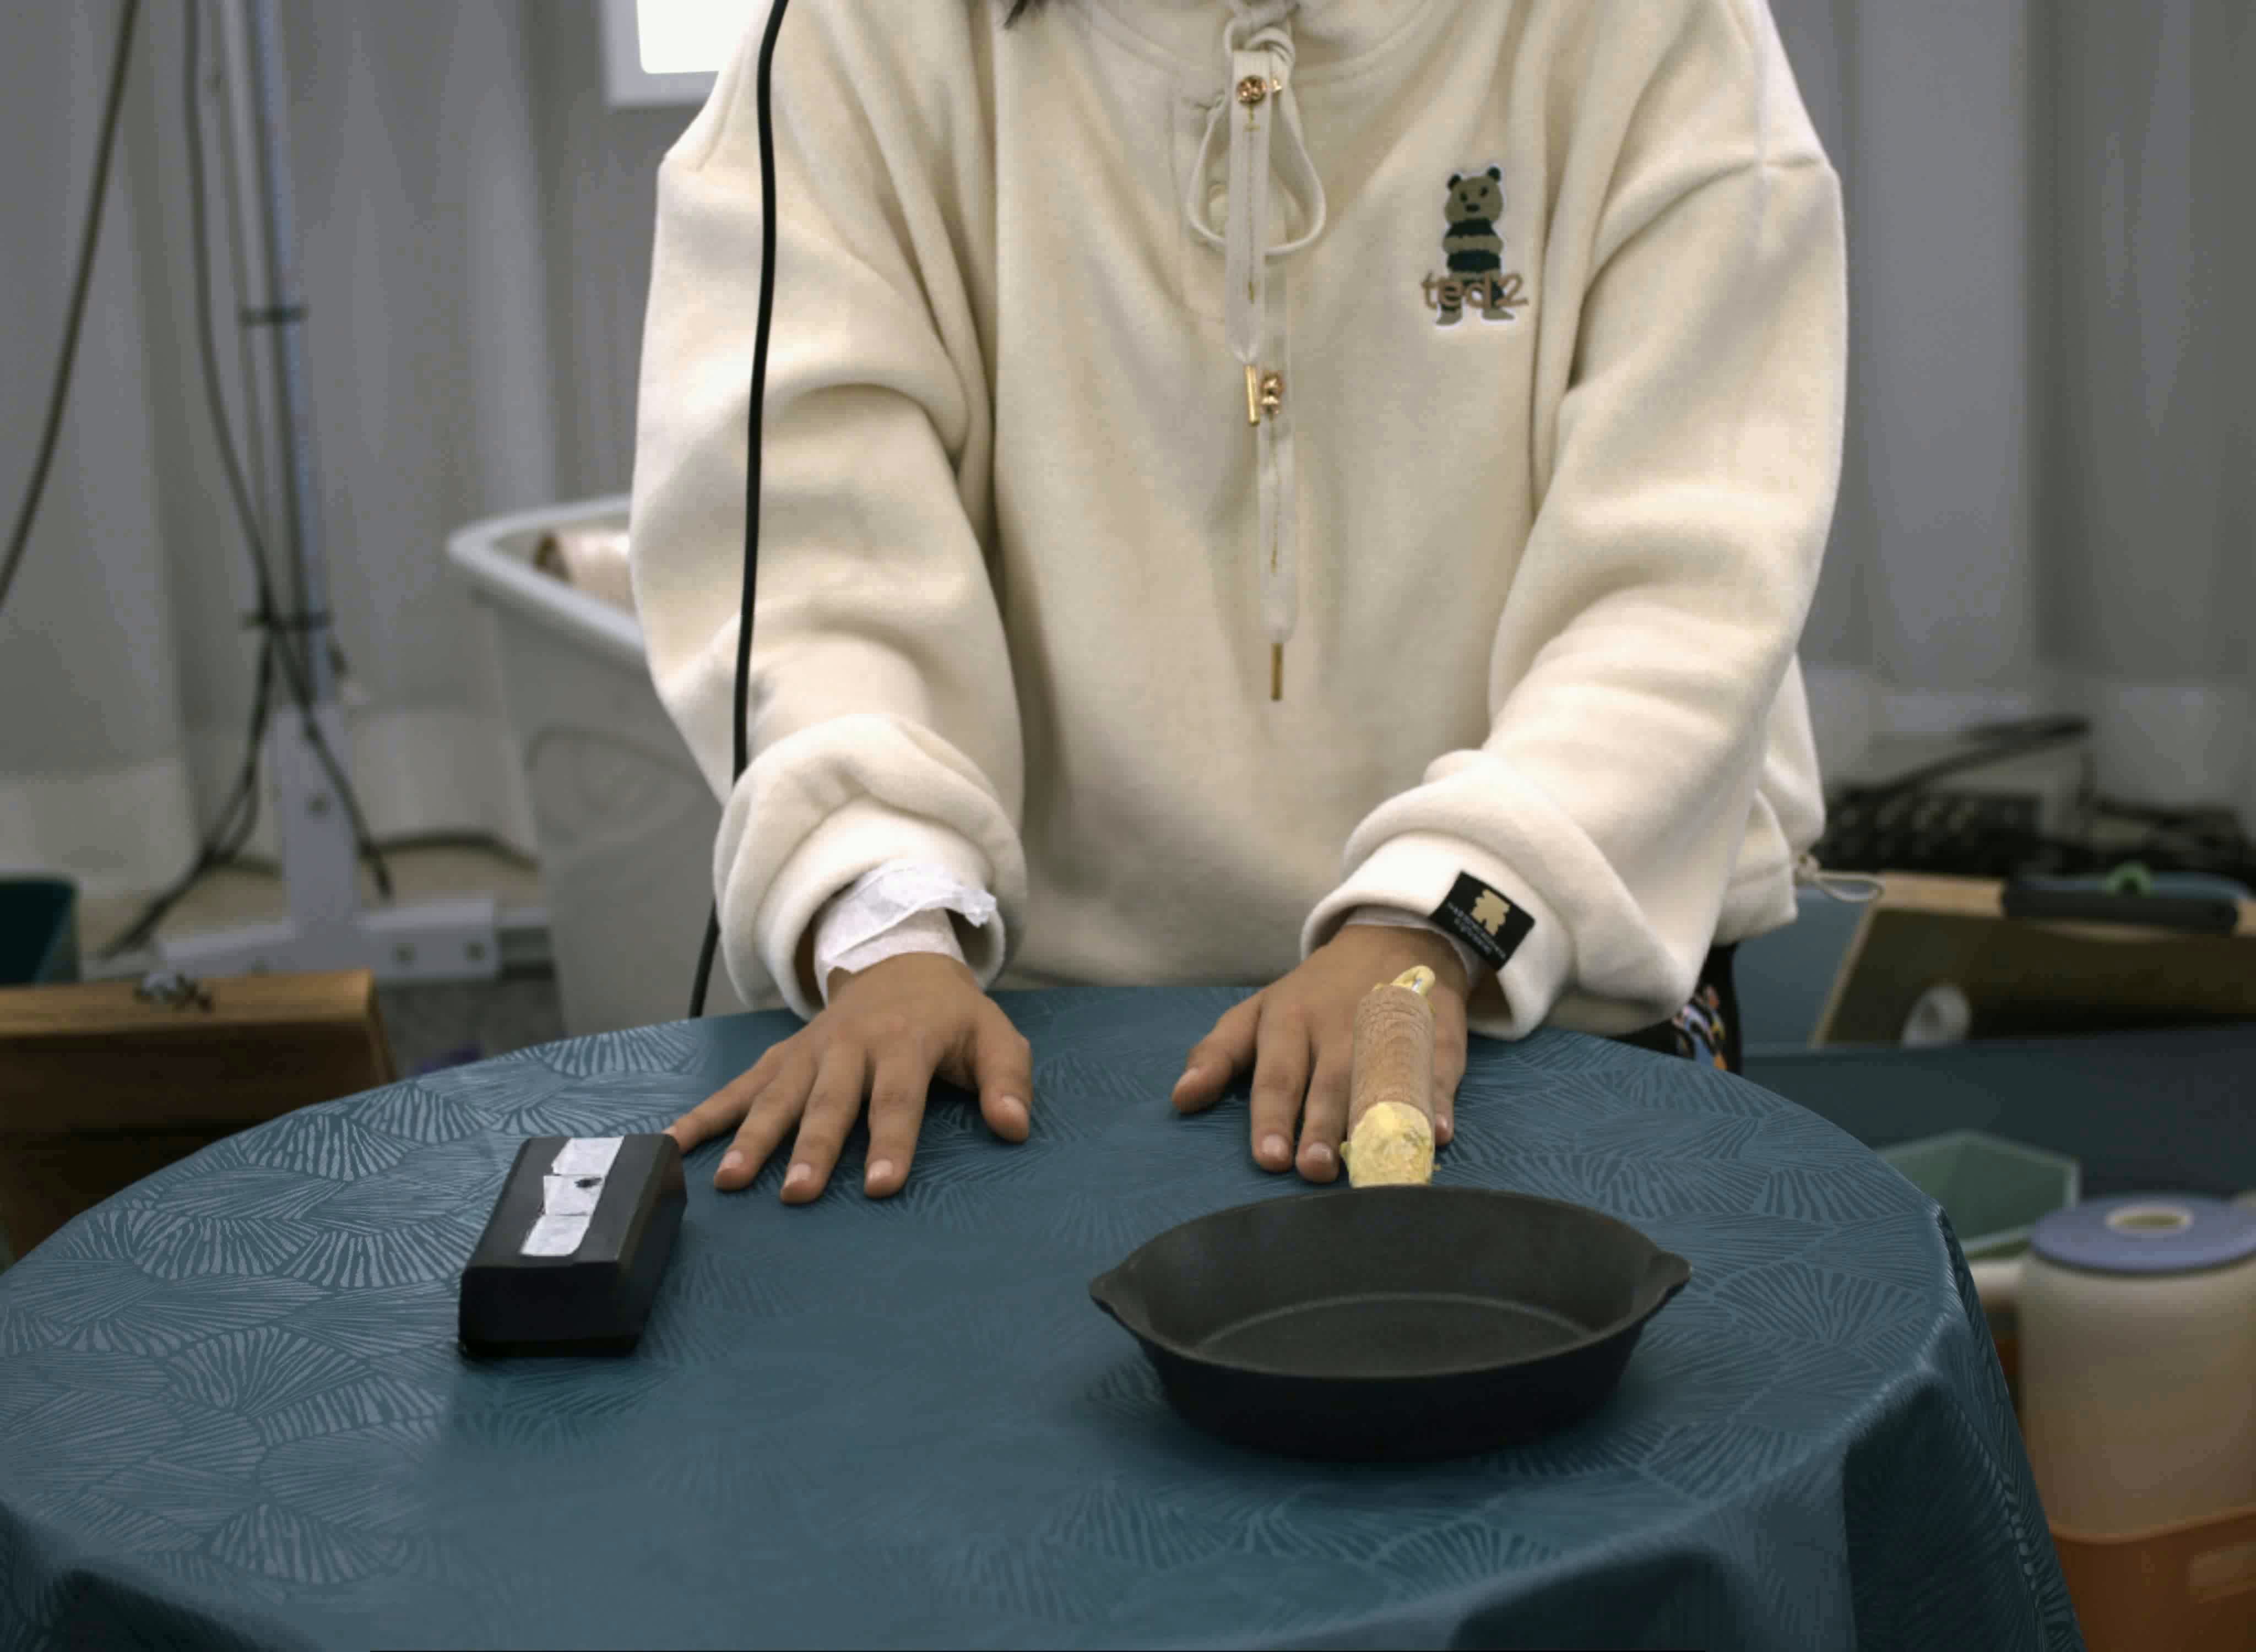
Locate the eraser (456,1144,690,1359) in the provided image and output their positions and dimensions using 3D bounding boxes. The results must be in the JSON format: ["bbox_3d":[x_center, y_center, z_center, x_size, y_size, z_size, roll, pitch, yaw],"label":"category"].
[{"bbox_3d":[-0.165,0.127,1.647,0.053,0.030,0.126,-1,14,3],"label":"eraser"}]

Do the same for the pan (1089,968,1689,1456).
[{"bbox_3d":[0.080,0.110,1.615,0.168,0.049,0.326,-3,15,6],"label":"pan"}]
